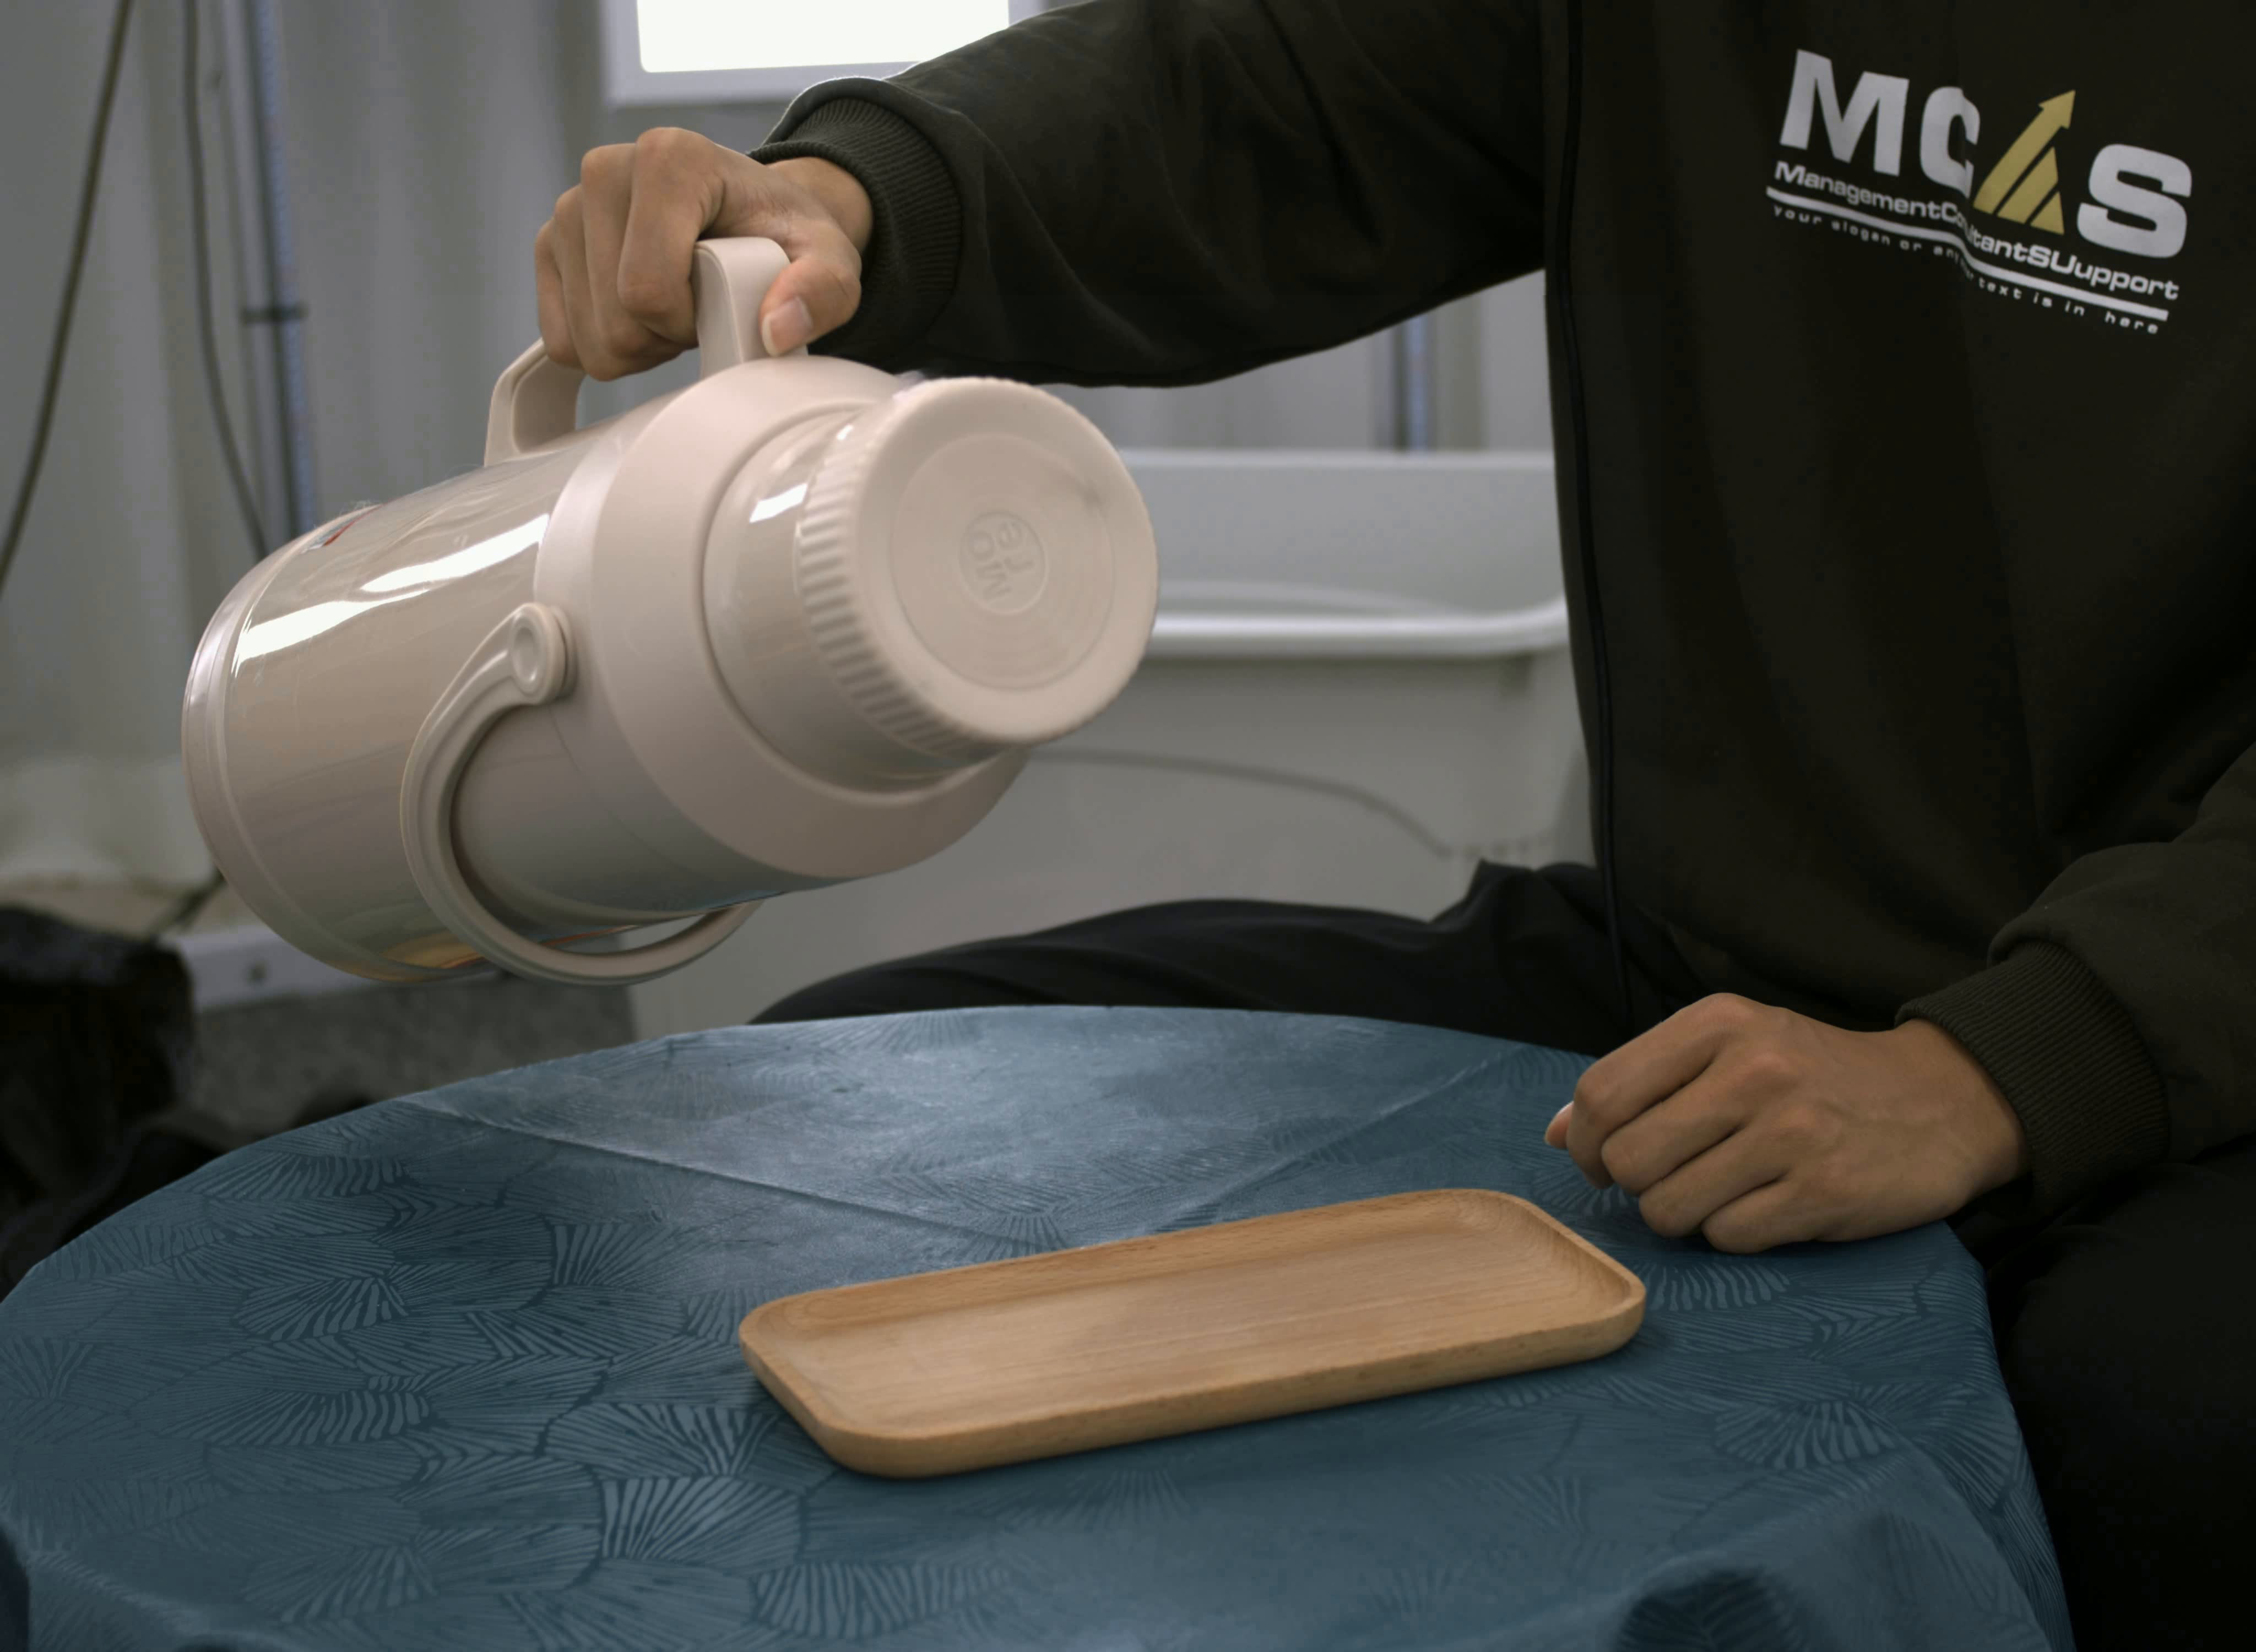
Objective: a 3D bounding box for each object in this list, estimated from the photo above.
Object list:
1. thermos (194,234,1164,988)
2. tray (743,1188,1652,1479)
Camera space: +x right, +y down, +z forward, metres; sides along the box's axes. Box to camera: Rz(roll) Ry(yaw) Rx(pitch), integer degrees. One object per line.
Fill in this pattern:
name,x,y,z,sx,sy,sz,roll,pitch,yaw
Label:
thermos,-0.140,-0.064,1.692,0.174,0.208,0.406,-8,-4,-32
tray,0.020,0.145,1.572,0.249,0.023,0.132,-7,18,-18
